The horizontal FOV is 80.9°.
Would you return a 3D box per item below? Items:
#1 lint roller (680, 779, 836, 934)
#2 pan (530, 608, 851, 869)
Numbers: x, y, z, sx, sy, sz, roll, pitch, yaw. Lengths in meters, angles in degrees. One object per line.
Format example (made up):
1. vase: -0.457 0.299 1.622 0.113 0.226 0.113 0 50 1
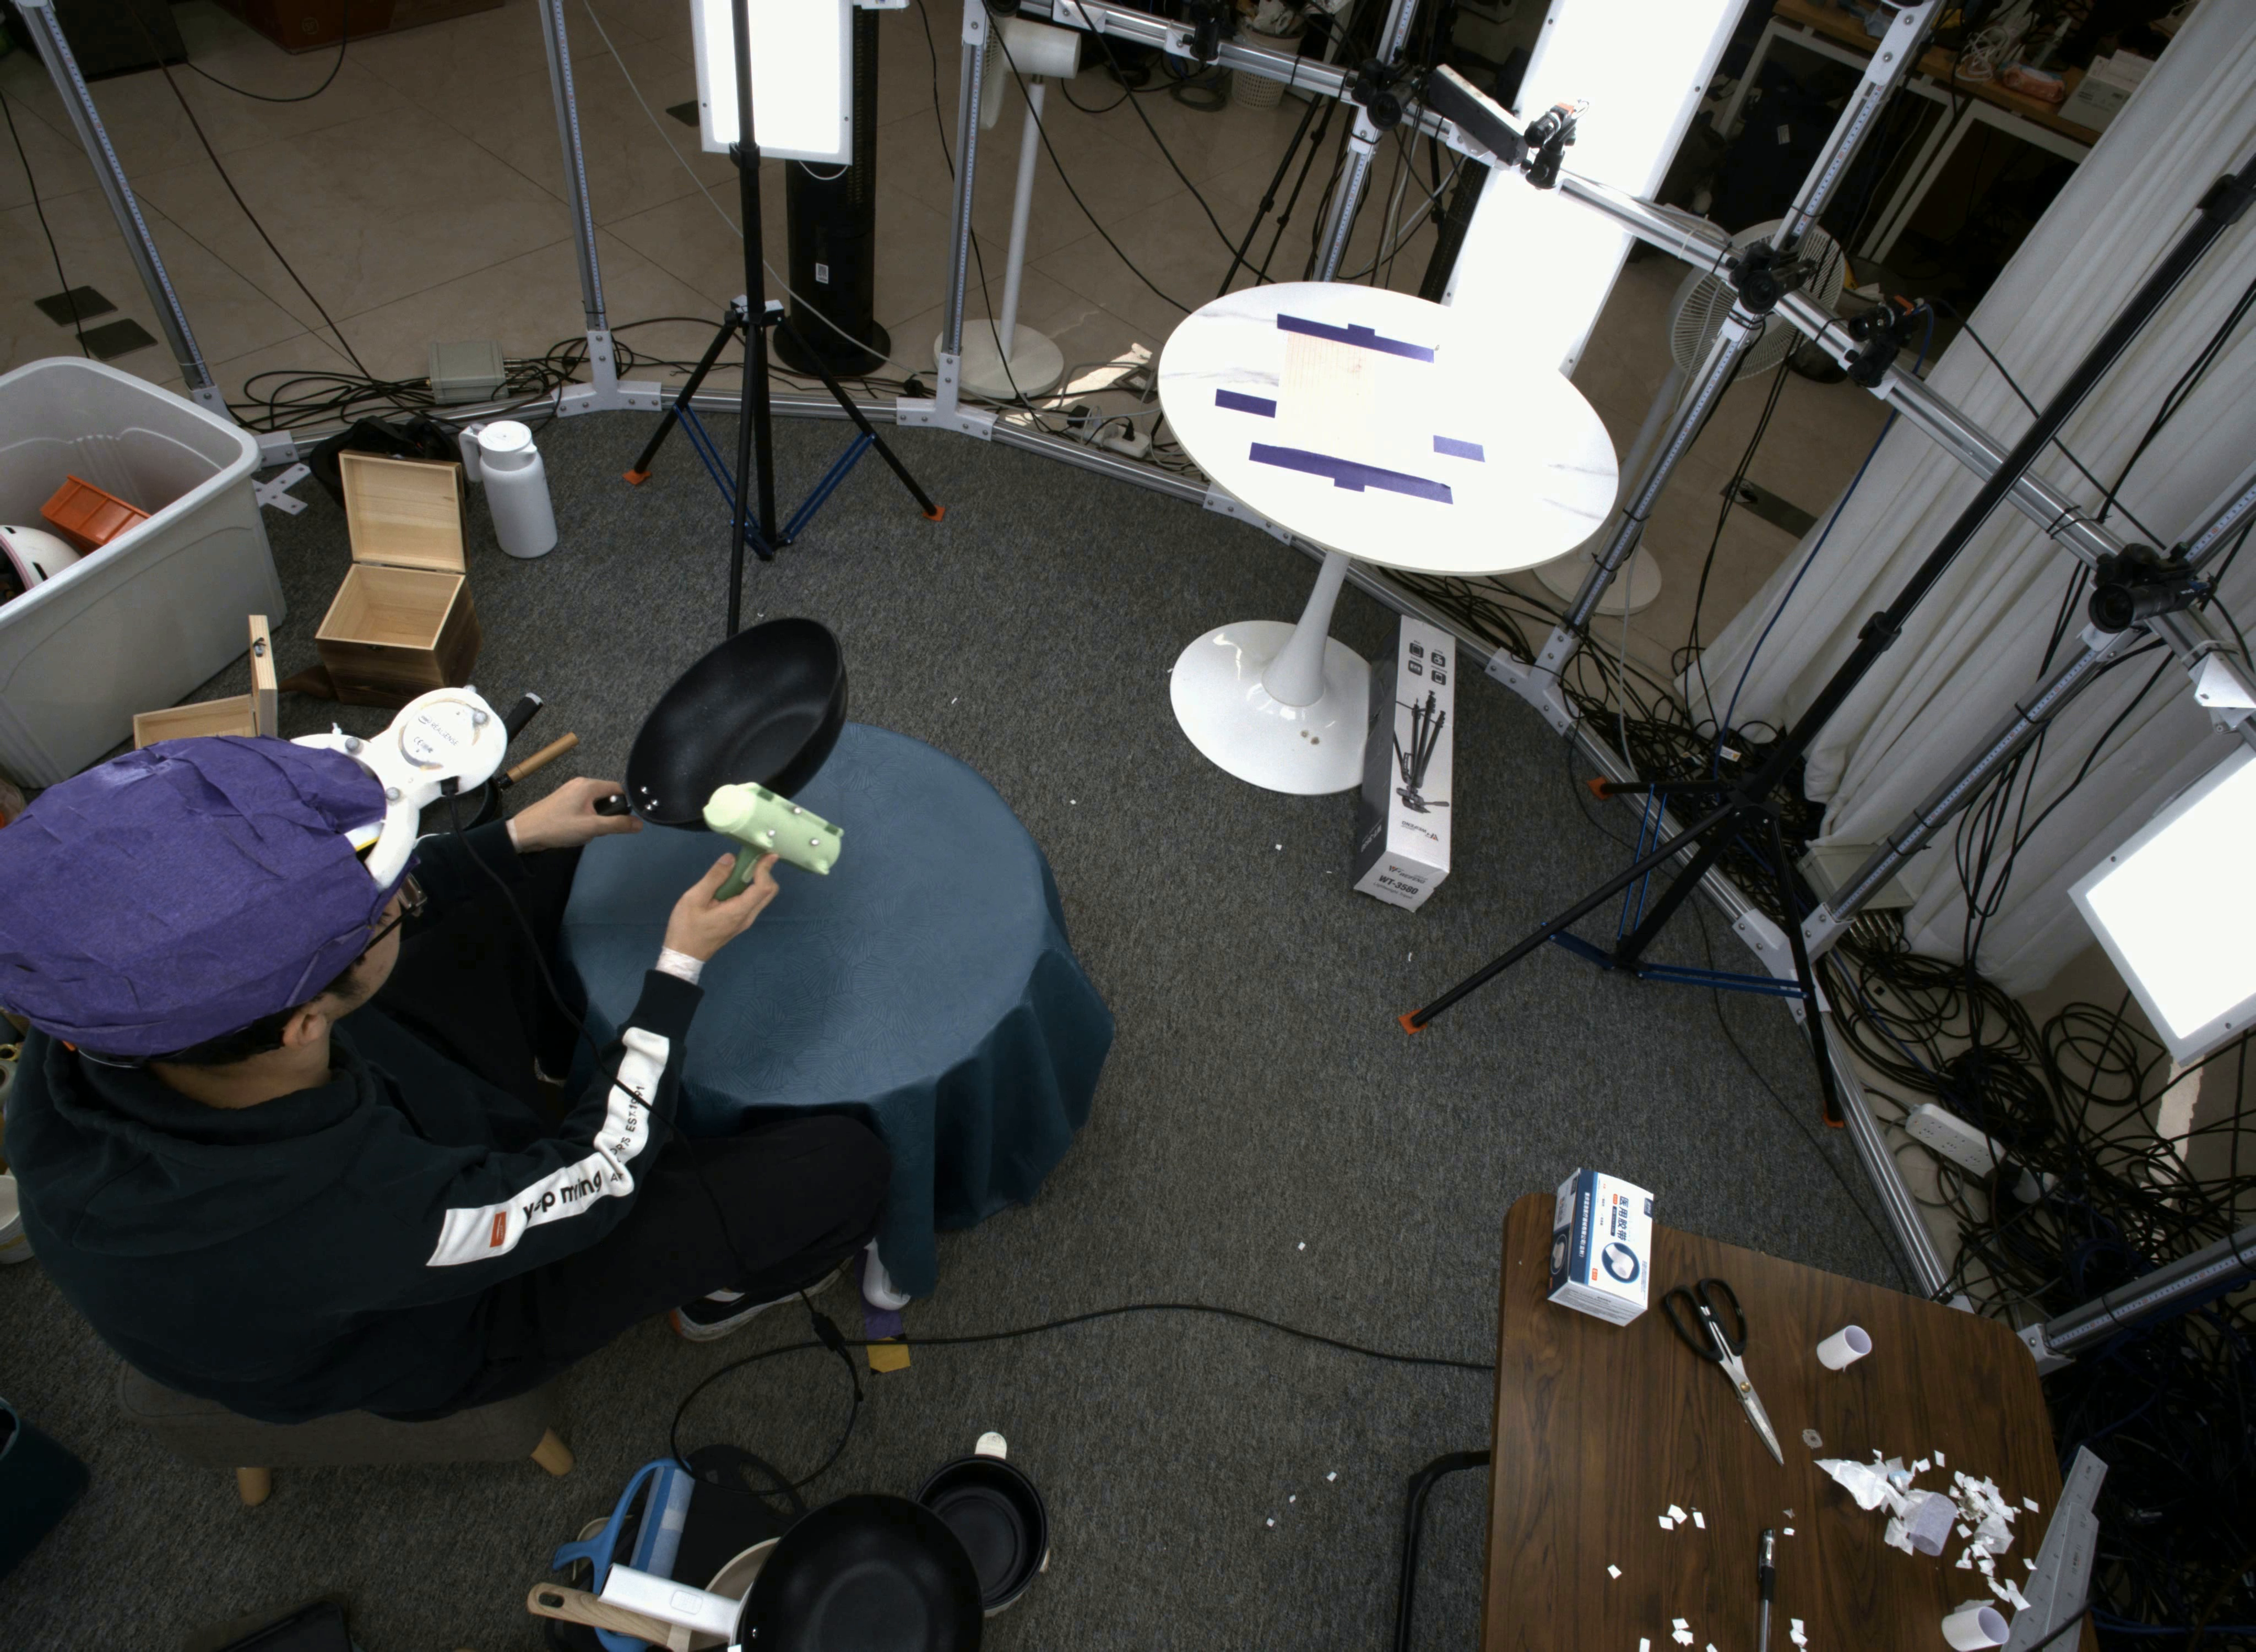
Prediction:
1. lint roller: -0.418 0.052 1.419 0.080 0.204 0.184 31 86 23
2. pan: -0.512 -0.071 1.520 0.475 0.116 0.299 -37 43 0
